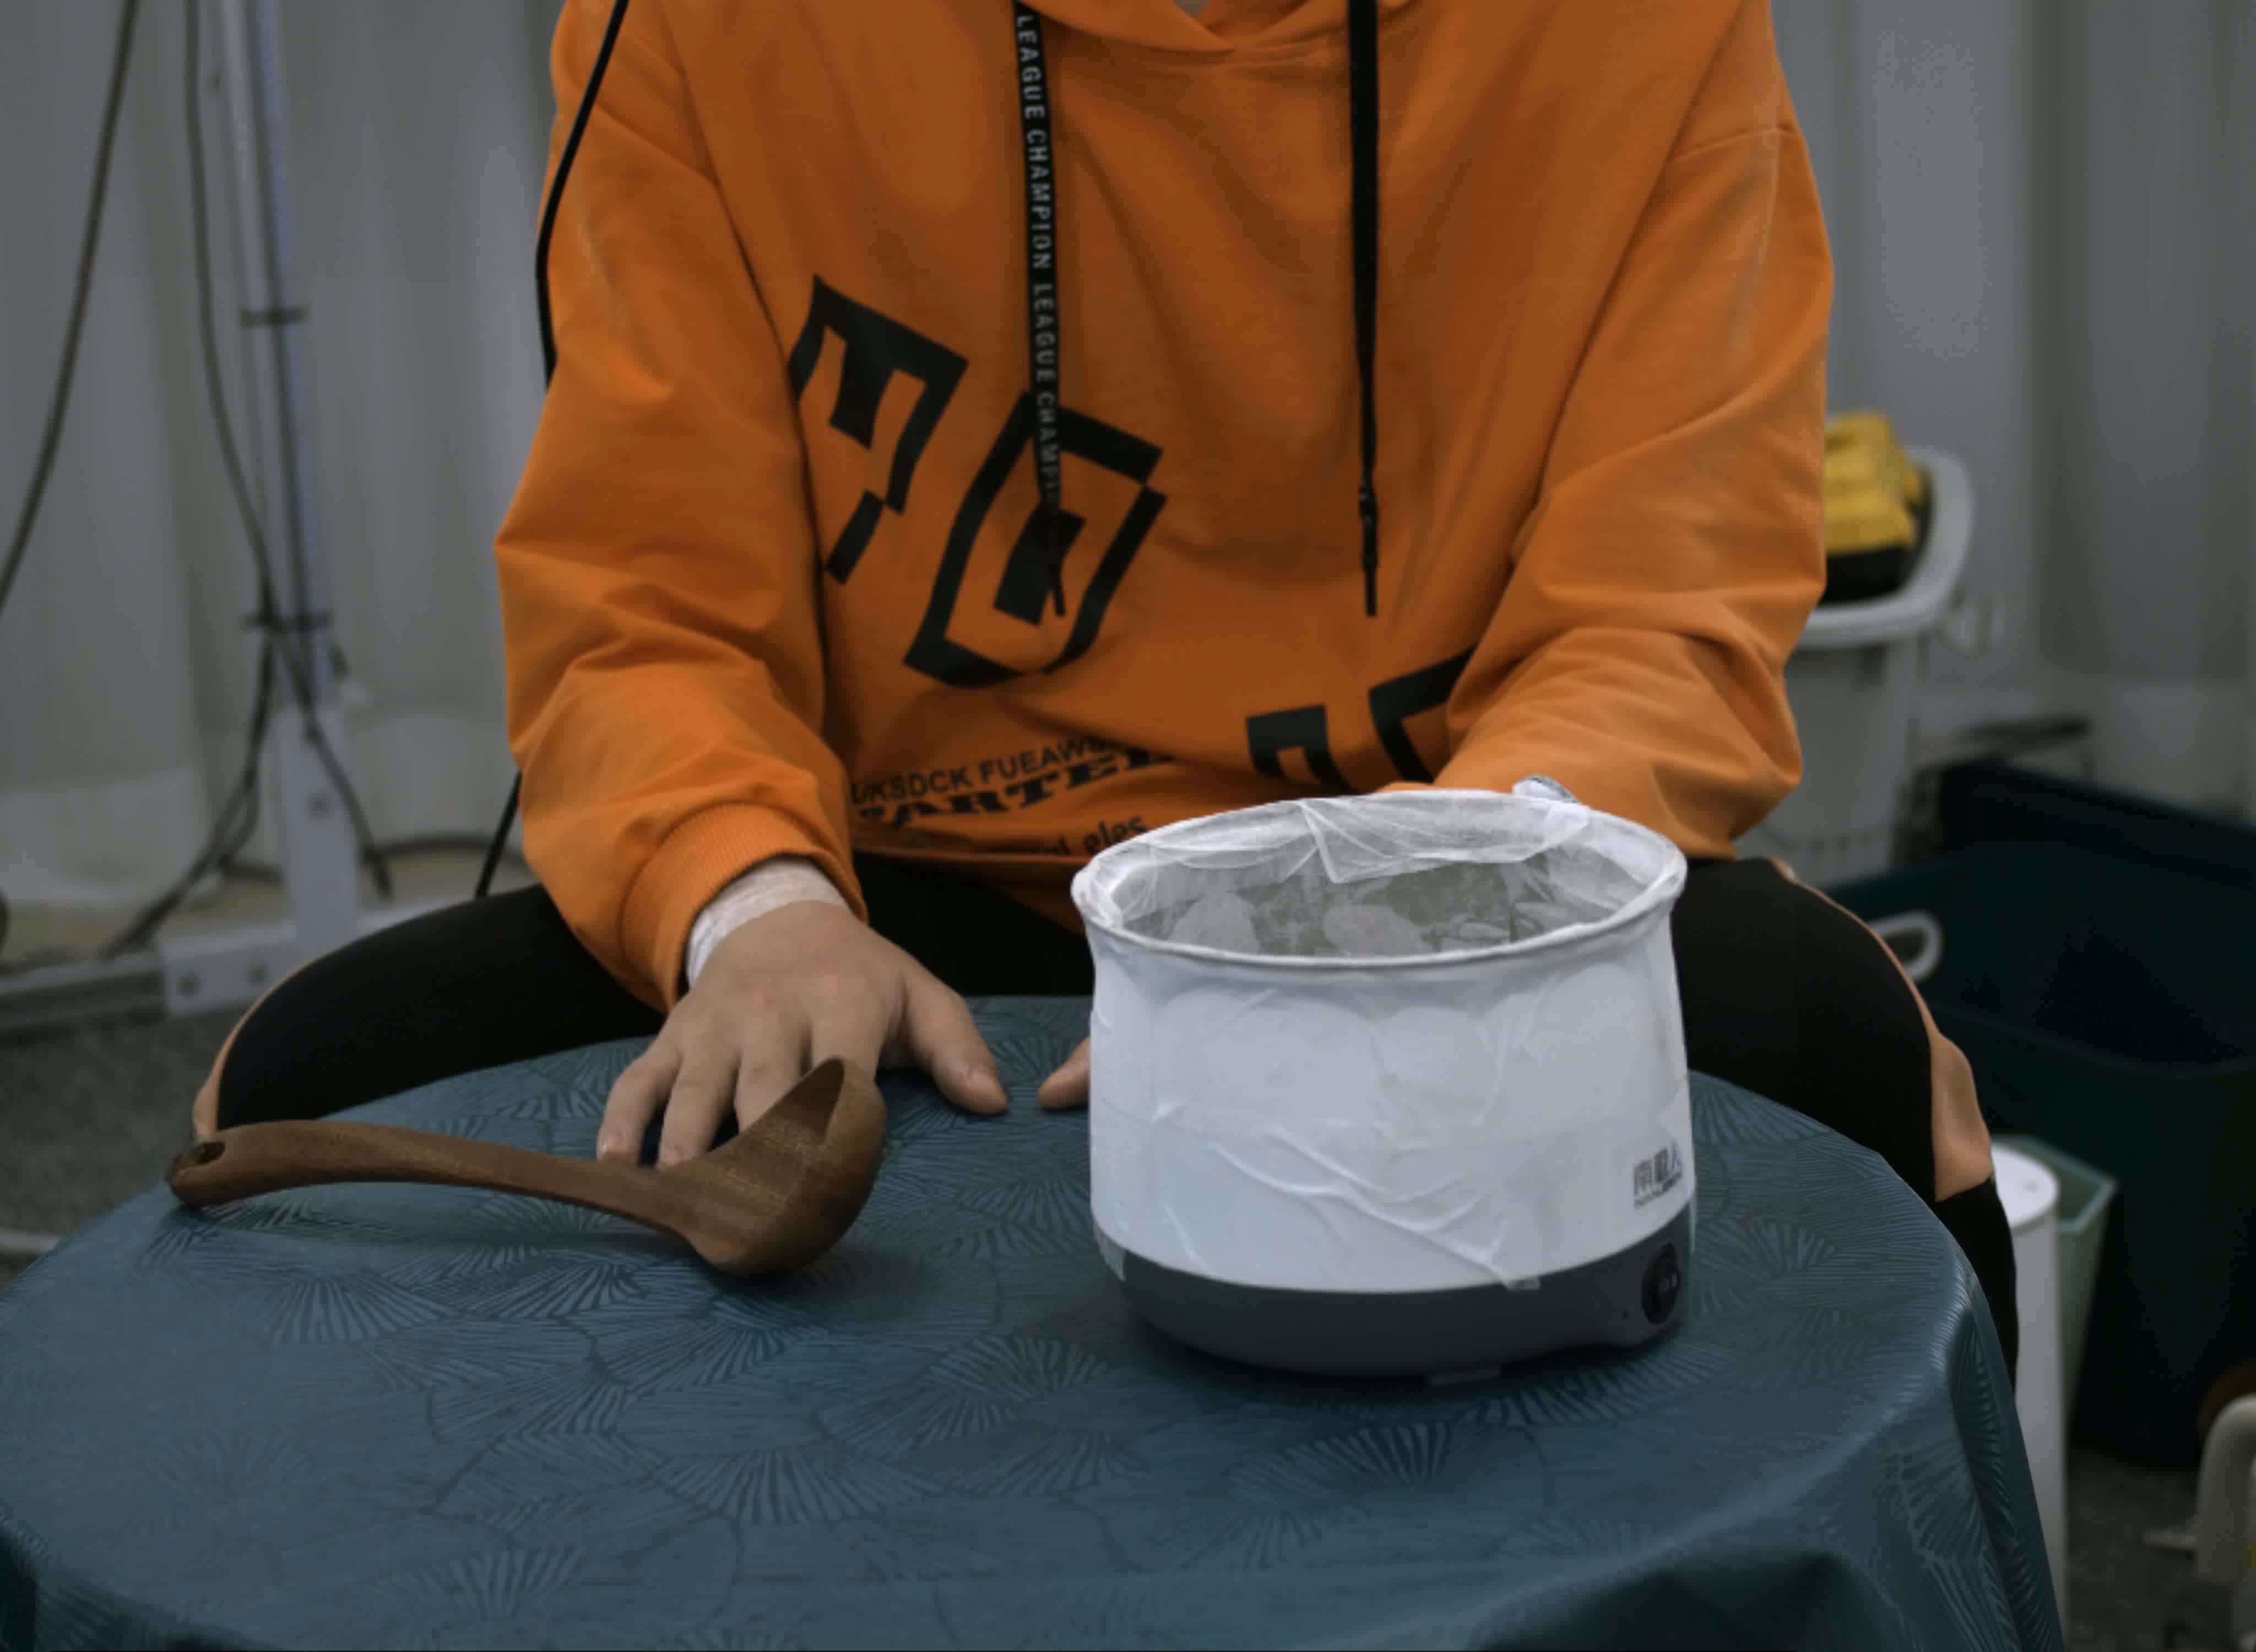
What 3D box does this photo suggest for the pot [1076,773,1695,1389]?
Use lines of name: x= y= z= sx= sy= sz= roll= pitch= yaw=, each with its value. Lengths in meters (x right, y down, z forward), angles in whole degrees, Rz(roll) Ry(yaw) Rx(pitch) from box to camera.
pot: x=0.089 y=0.068 z=1.609 sx=0.179 sy=0.136 sz=0.234 roll=6 pitch=17 yaw=29

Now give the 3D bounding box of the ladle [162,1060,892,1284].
ladle: x=-0.192 y=0.100 z=1.691 sx=0.260 sy=0.064 sz=0.077 roll=4 pitch=42 yaw=22
